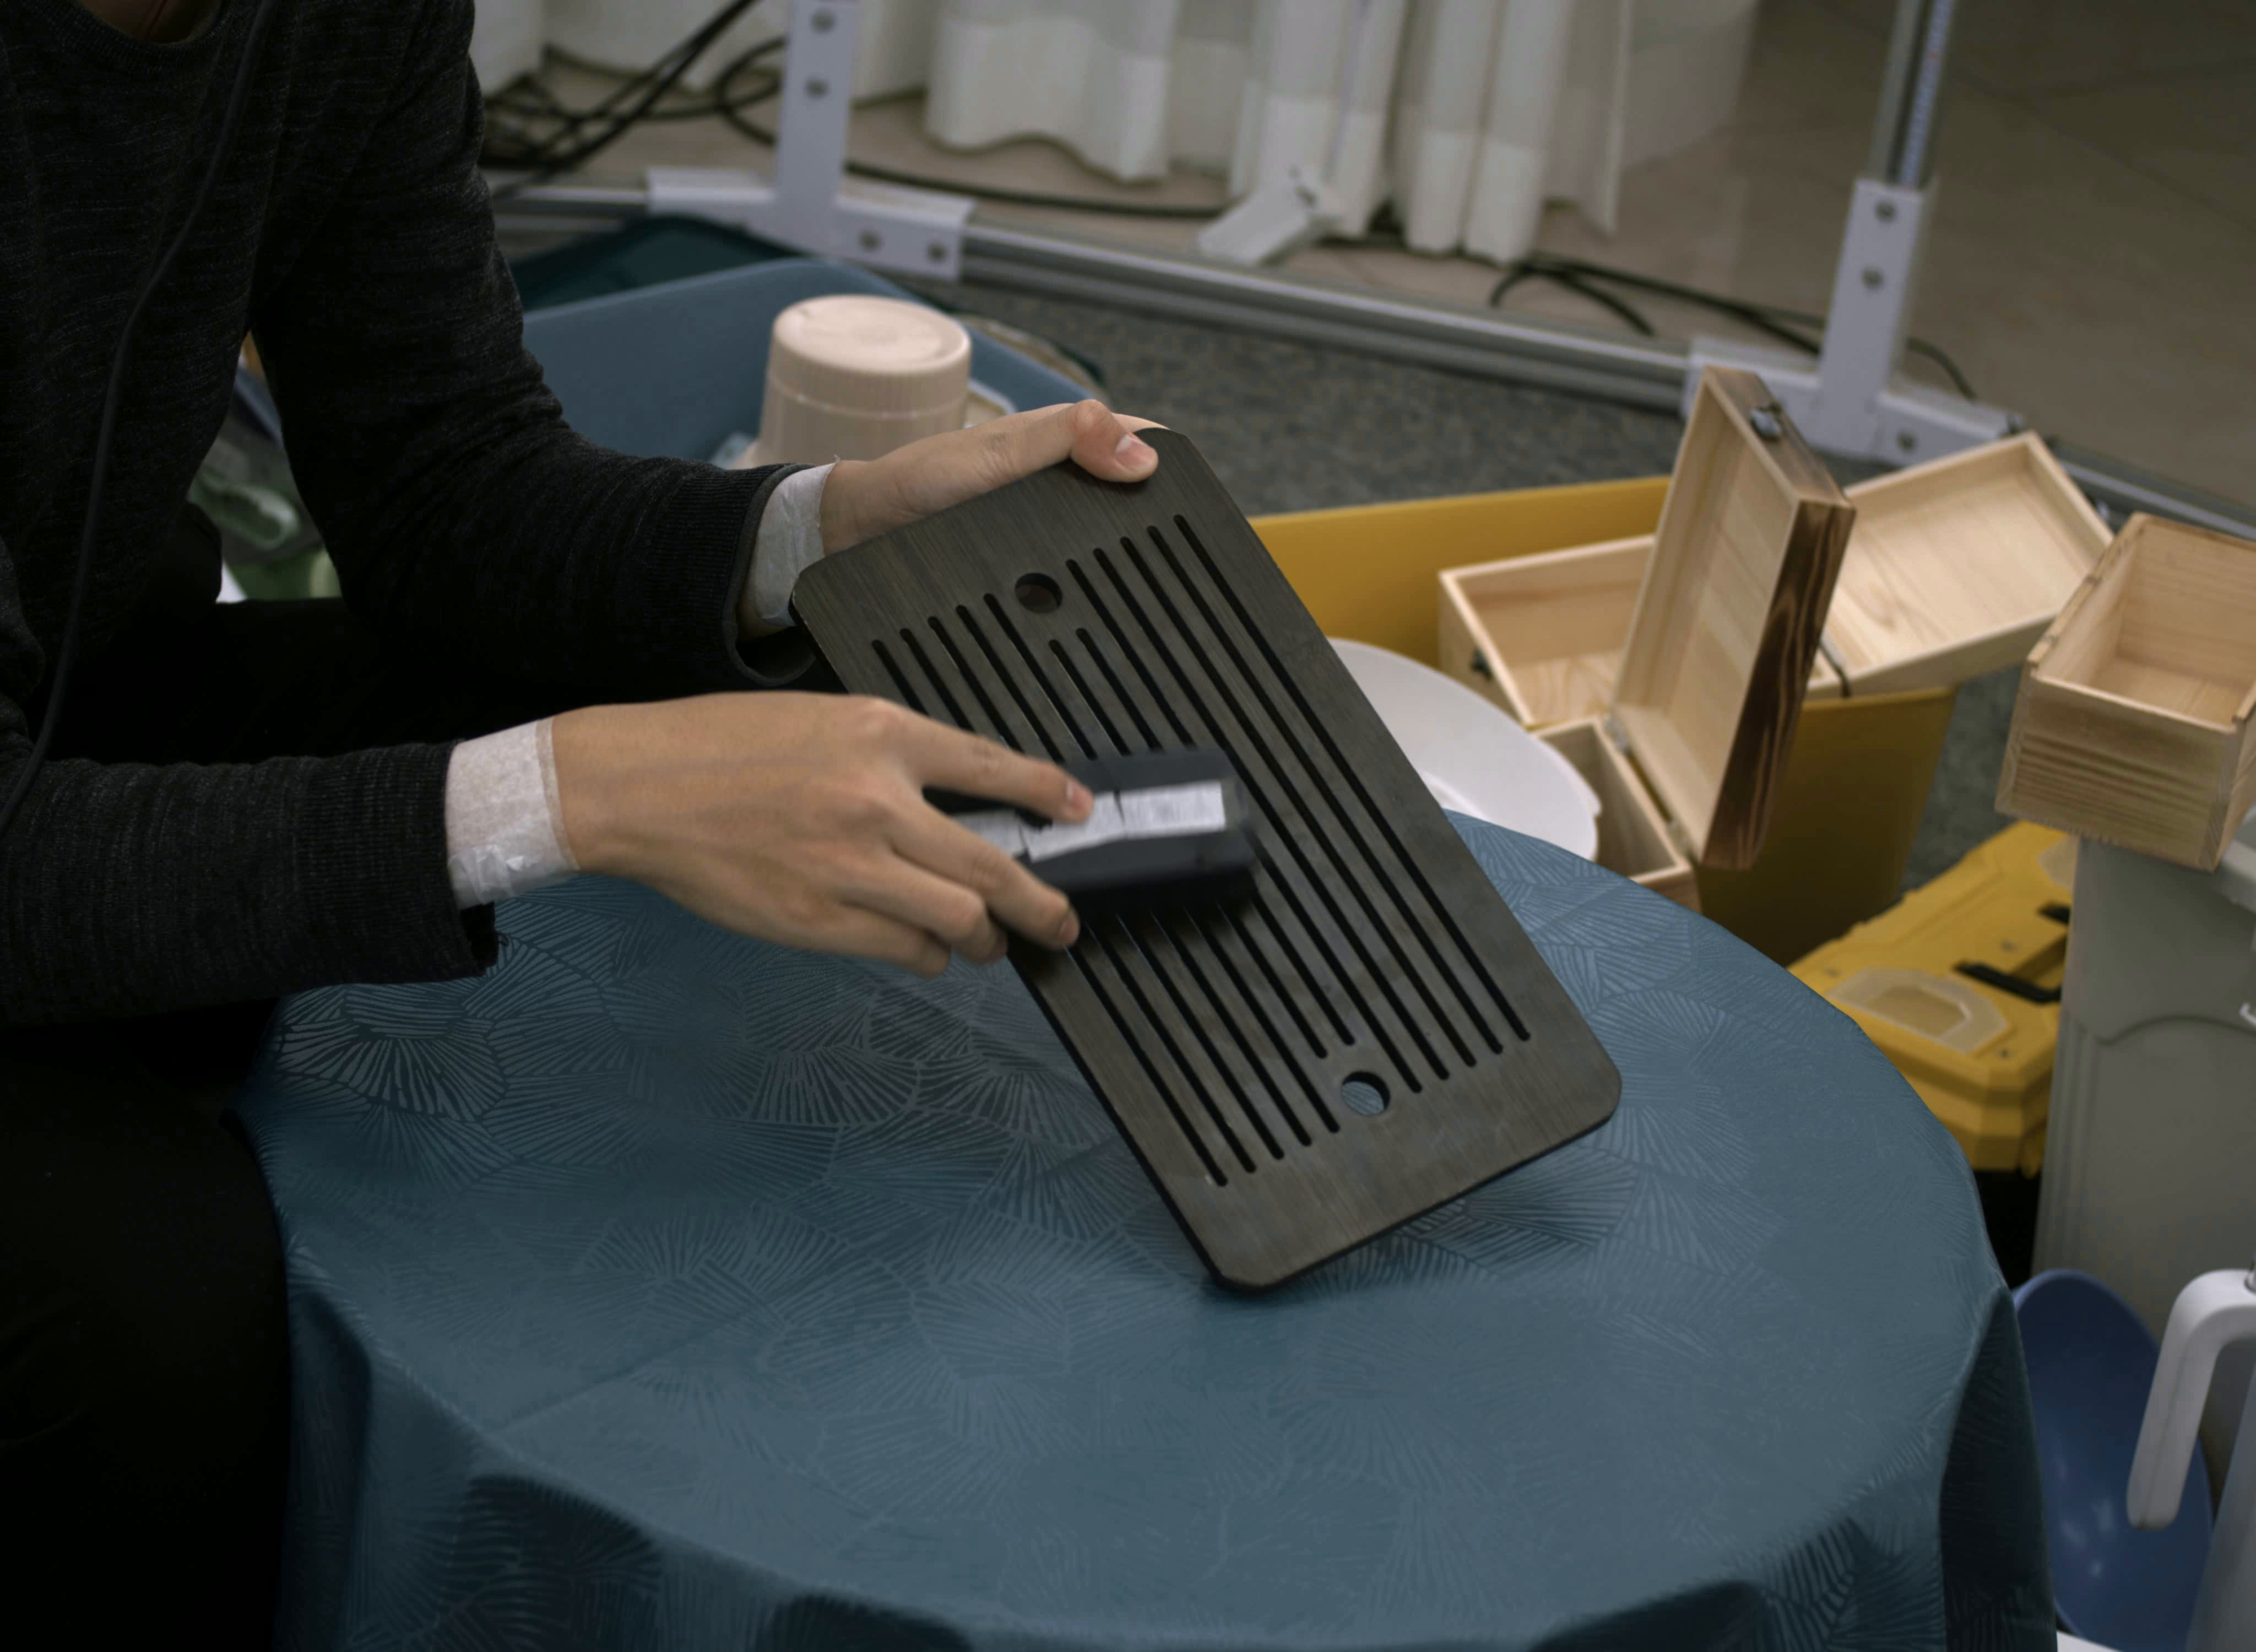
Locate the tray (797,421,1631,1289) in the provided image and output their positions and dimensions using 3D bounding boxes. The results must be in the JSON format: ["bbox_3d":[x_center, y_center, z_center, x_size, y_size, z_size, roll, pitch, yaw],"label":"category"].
[{"bbox_3d":[0.027,0.006,1.833,0.169,0.018,0.308,-23,68,-25],"label":"tray"}]

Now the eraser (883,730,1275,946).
[{"bbox_3d":[-0.017,0.003,1.799,0.125,0.030,0.054,-10,61,-17],"label":"eraser"}]
